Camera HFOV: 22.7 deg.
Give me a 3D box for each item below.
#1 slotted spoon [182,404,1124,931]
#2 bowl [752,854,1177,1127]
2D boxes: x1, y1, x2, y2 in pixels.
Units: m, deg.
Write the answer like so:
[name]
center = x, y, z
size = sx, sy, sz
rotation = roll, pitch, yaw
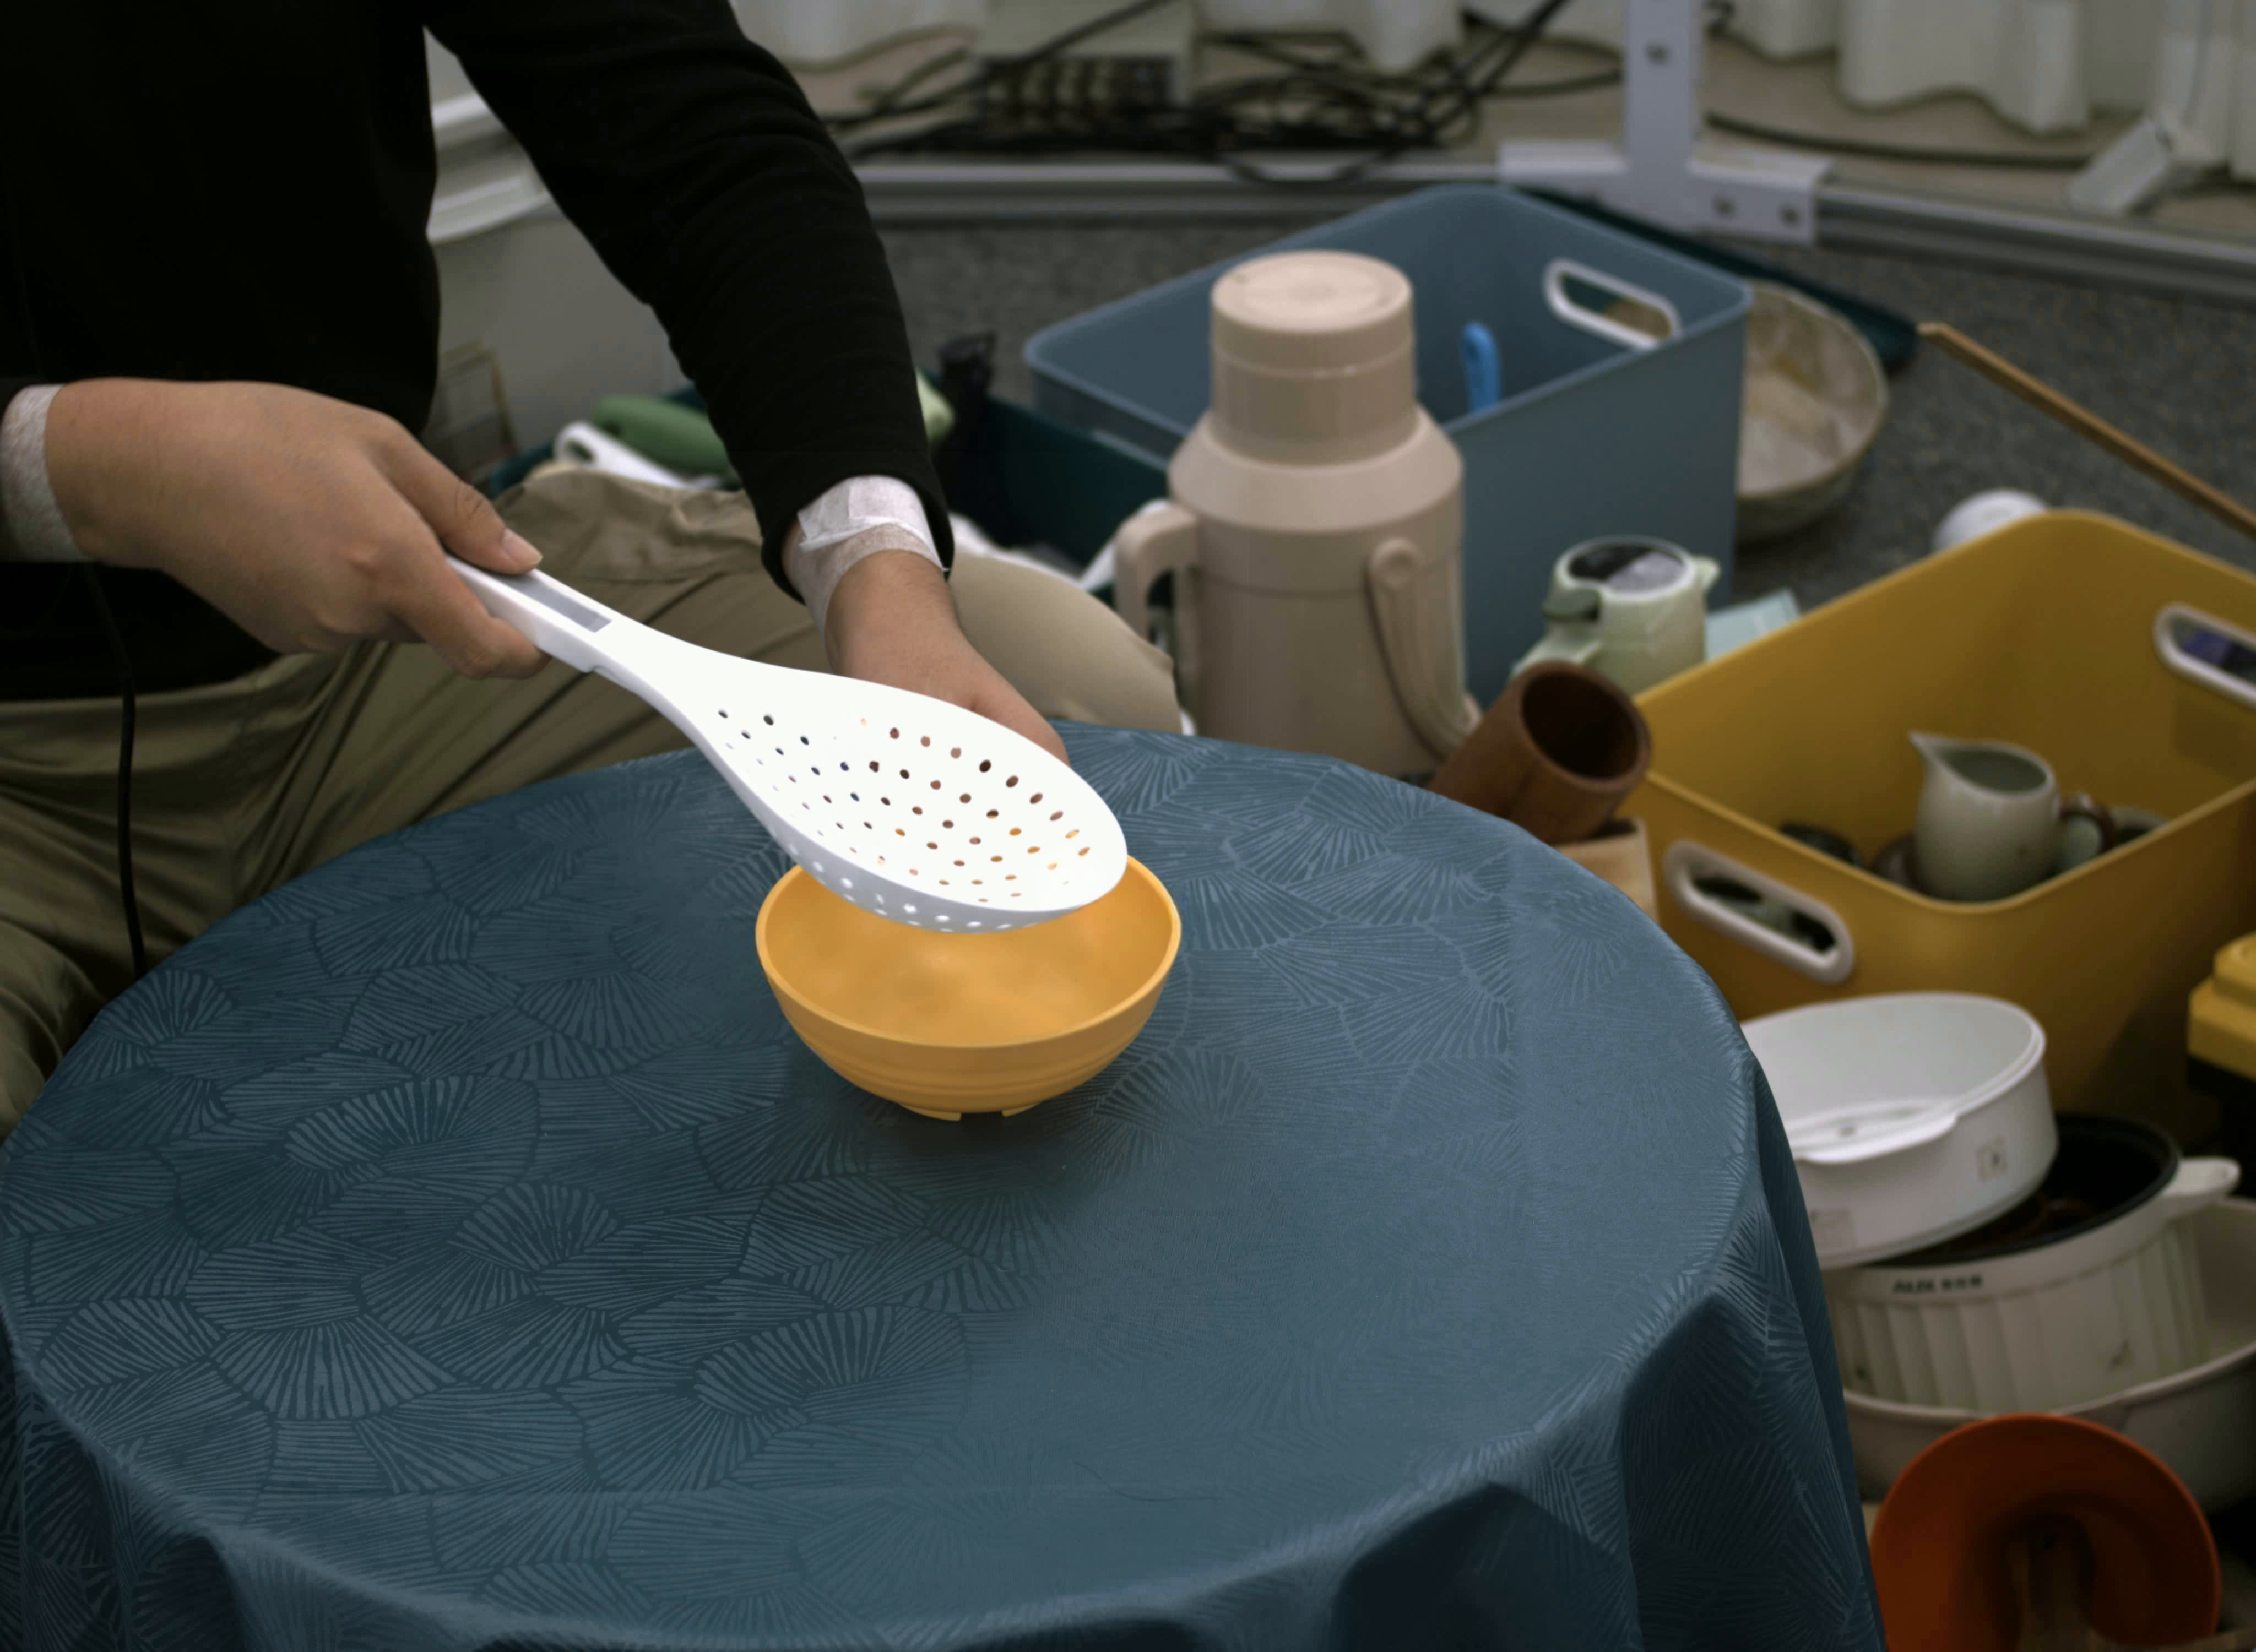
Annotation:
[slotted spoon]
center = -0.161, -0.055, 1.852
size = 0.349, 0.045, 0.138
rotation = 31, 28, 10
[bowl]
center = -0.056, 0.061, 1.920
size = 0.144, 0.059, 0.148
rotation = 2, 30, -1
